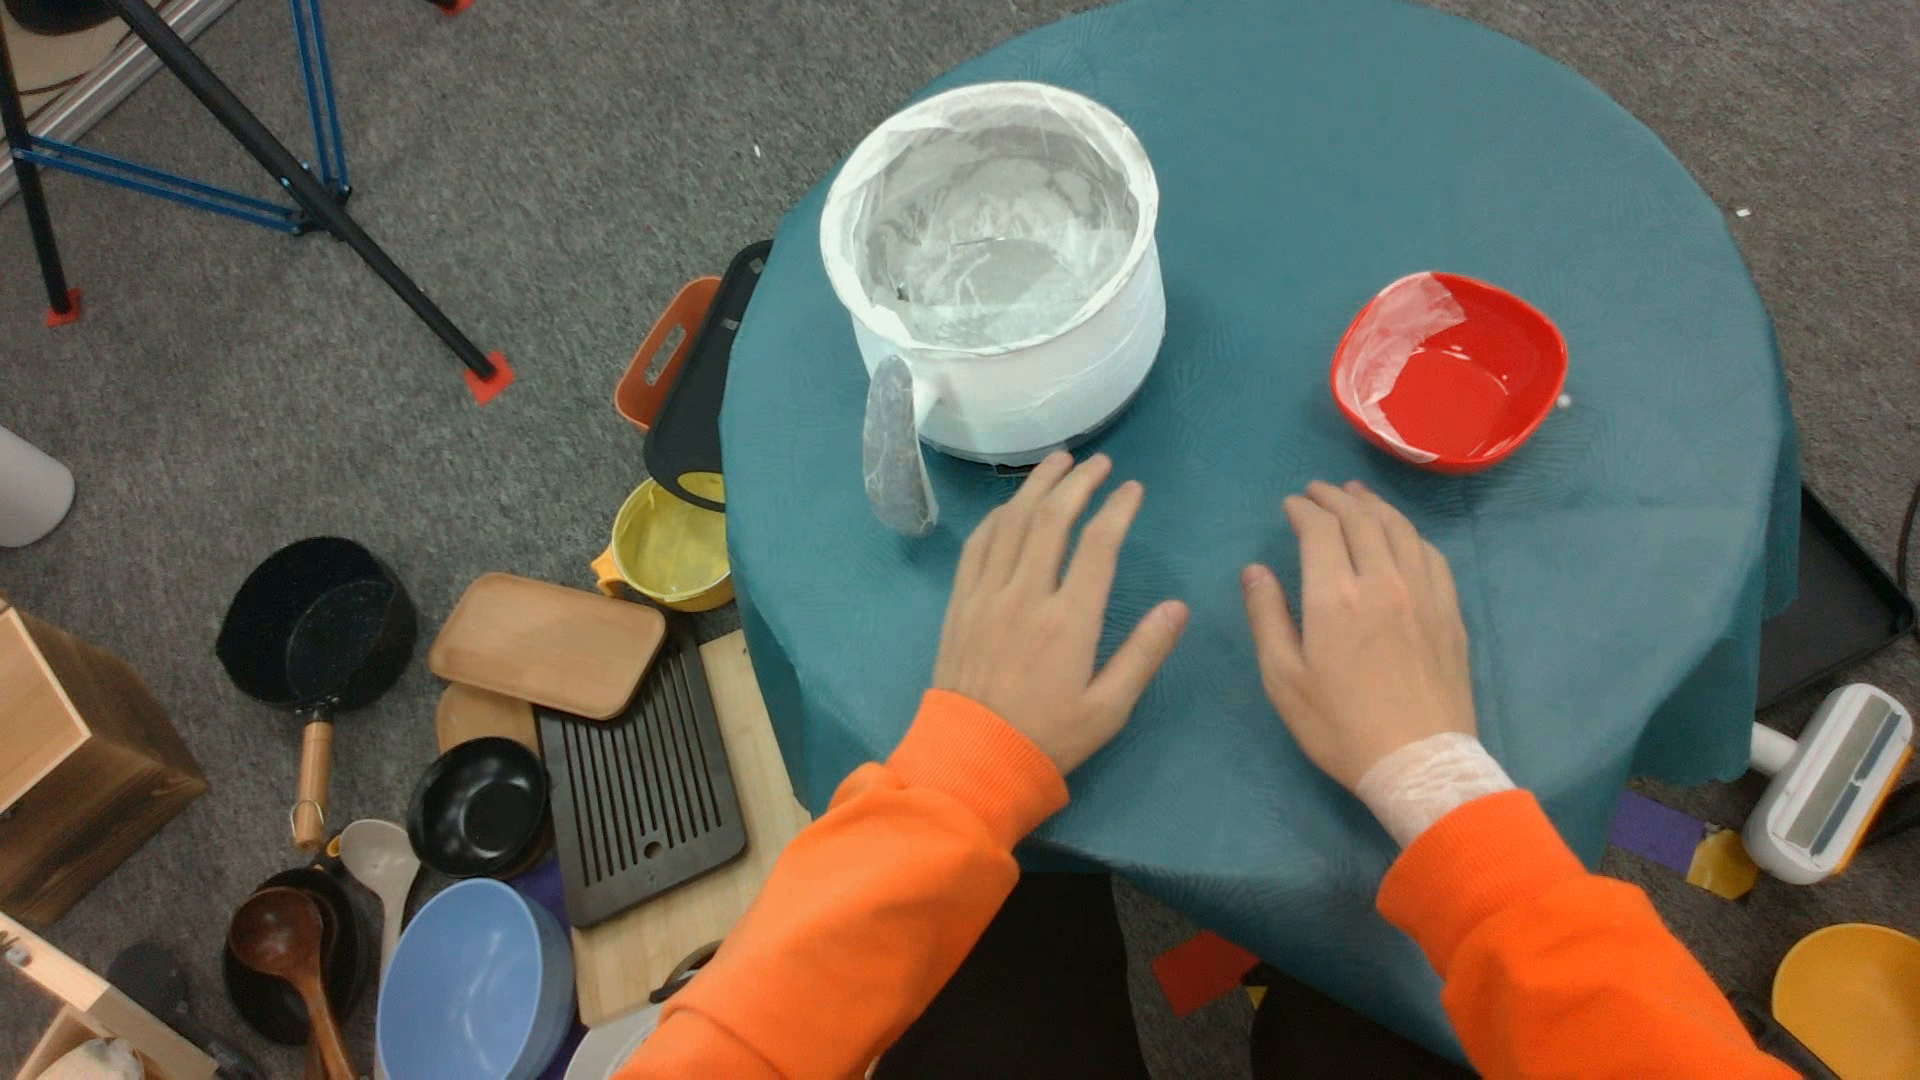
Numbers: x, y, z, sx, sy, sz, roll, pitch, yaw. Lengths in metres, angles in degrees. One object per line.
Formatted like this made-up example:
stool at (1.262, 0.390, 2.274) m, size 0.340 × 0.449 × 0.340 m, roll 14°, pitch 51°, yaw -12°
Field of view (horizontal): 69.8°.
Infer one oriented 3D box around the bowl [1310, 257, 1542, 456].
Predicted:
bowl at (0.248, -0.091, 0.744) m, size 0.119 × 0.051 × 0.119 m, roll -4°, pitch 64°, yaw 8°

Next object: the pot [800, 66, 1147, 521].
pot at (0.002, -0.128, 0.758) m, size 0.178 × 0.136 × 0.234 m, roll 19°, pitch 69°, yaw 19°
